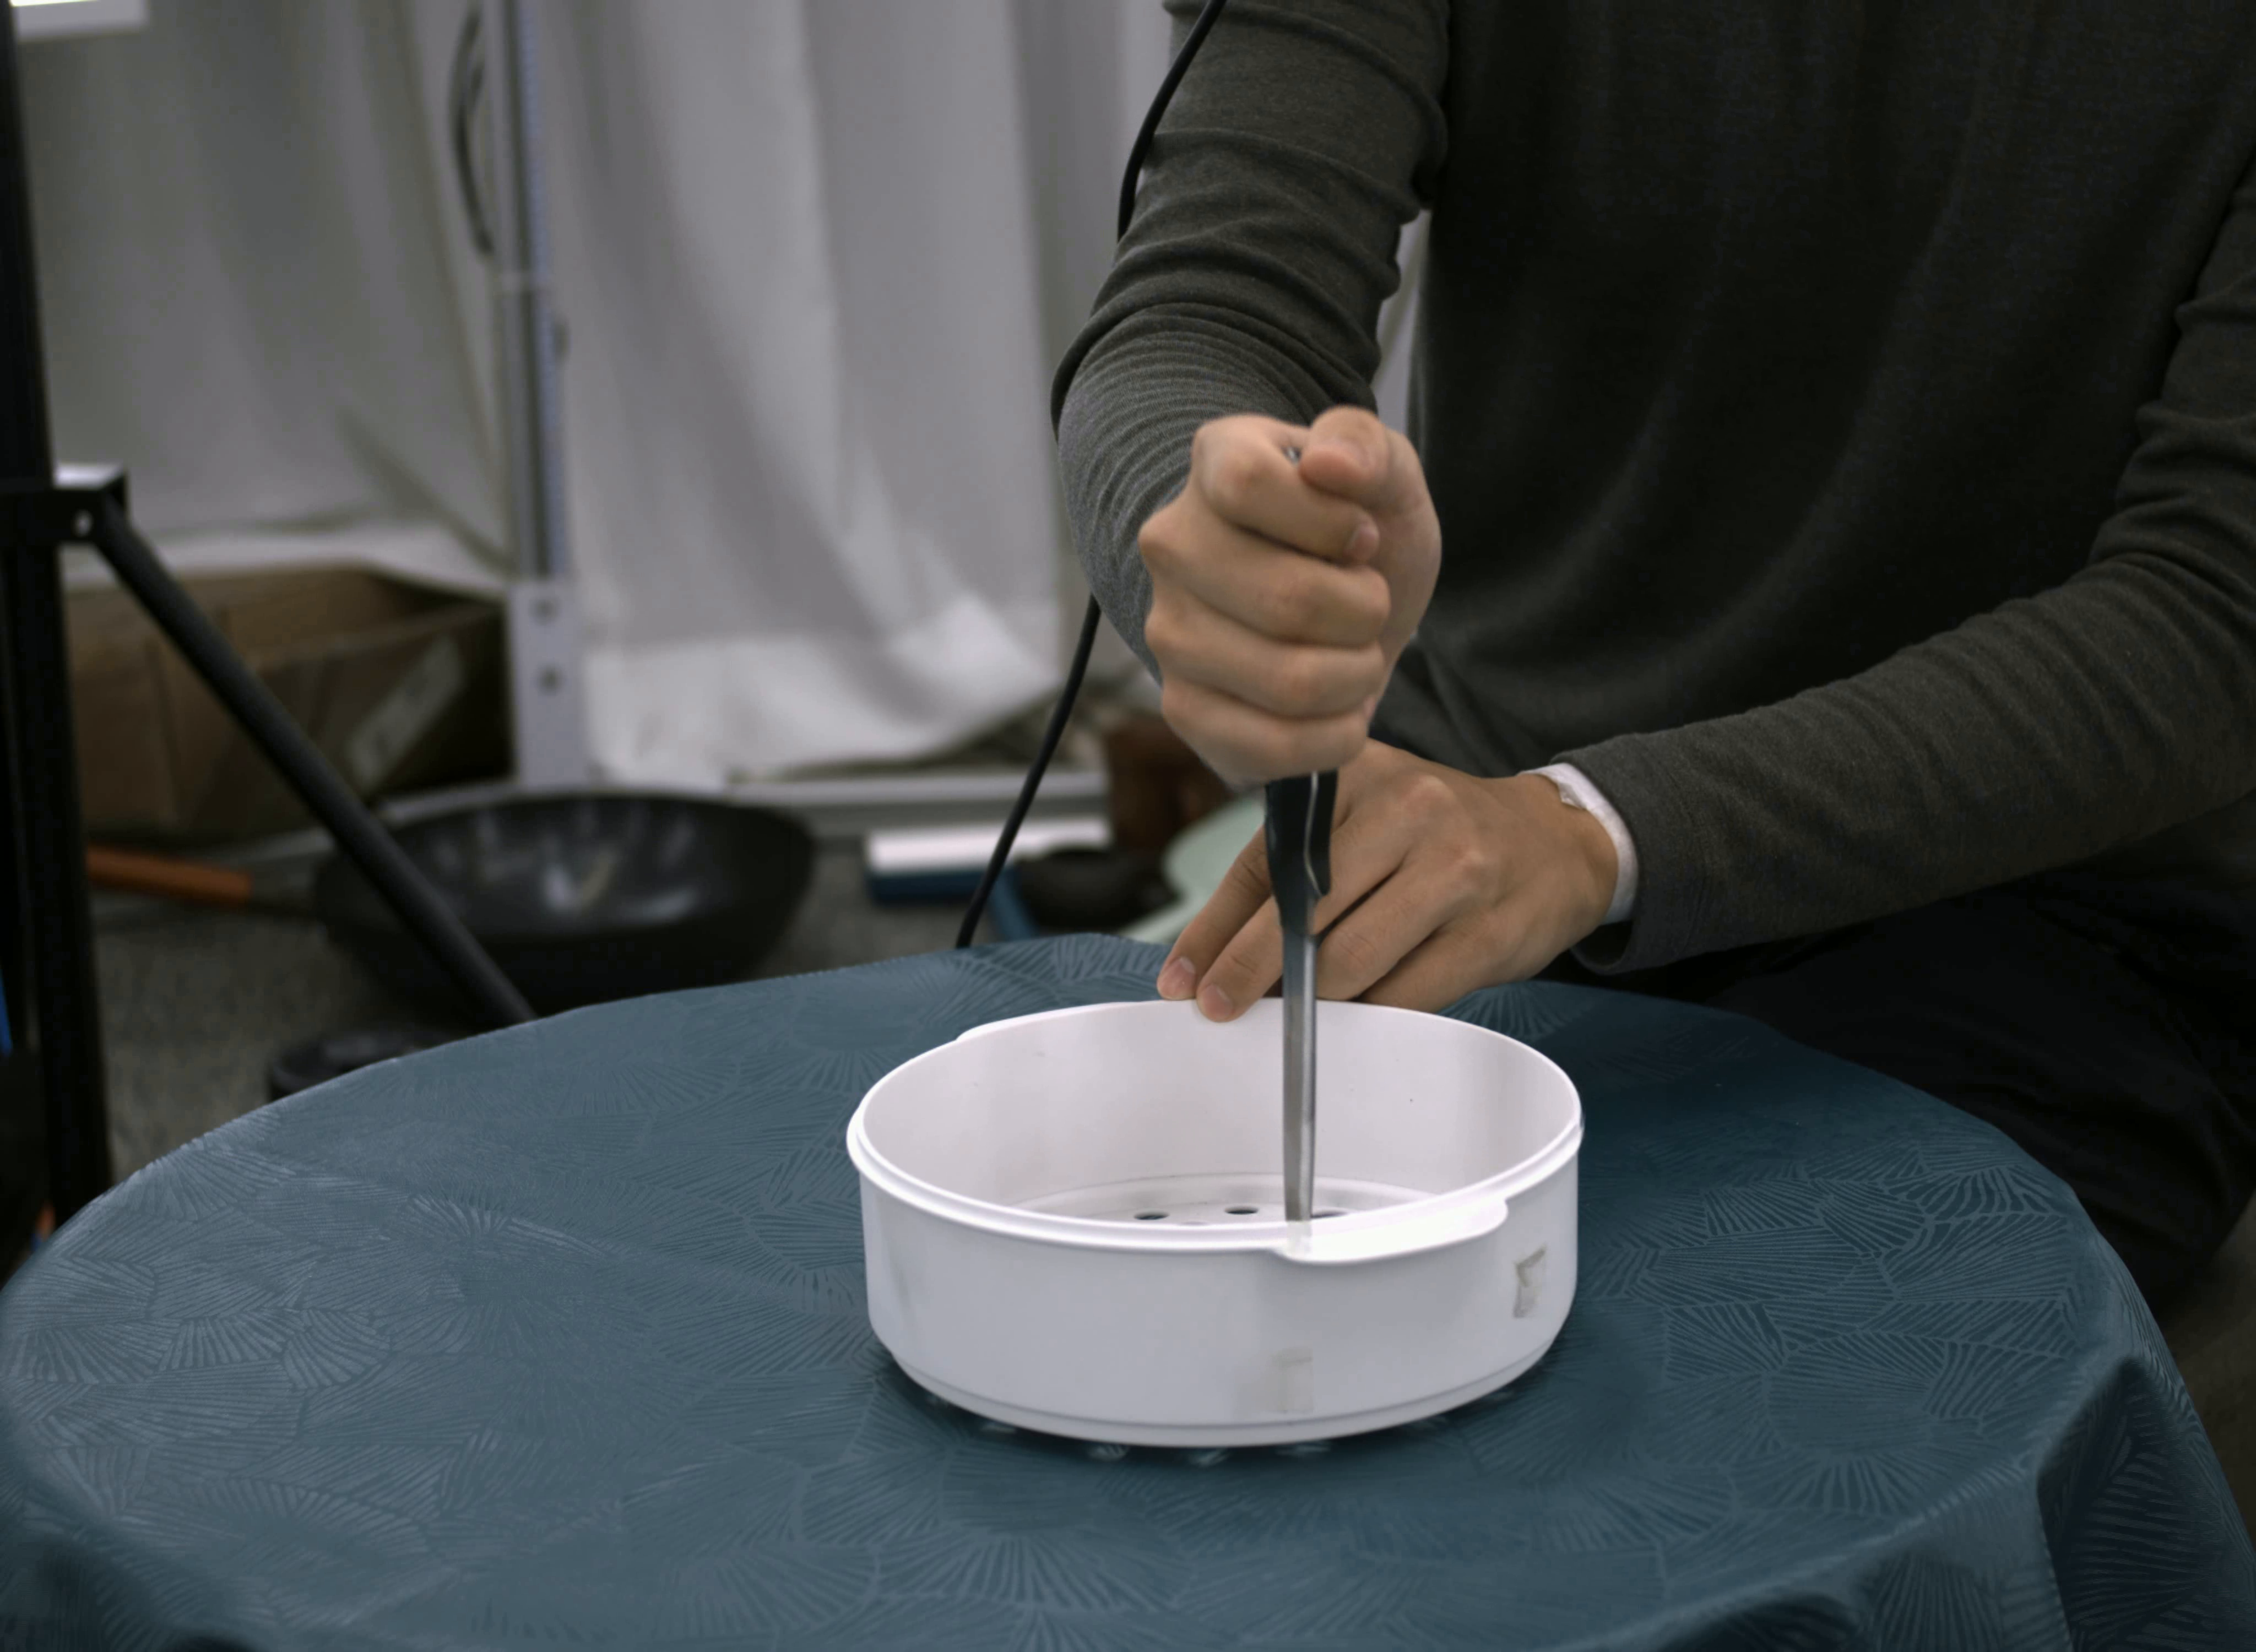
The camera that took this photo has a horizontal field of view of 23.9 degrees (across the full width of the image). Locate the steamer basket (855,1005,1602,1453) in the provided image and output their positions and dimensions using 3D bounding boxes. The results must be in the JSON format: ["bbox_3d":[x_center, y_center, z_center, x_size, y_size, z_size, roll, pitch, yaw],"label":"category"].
[{"bbox_3d":[0.028,0.108,1.433,0.198,0.069,0.235,-8,16,-22],"label":"steamer basket"}]

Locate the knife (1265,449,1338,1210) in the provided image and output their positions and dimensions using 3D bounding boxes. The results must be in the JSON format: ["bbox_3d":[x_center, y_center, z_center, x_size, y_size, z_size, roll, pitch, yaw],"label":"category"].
[{"bbox_3d":[0.044,0.020,1.344,0.016,0.238,0.025,-5,19,-13],"label":"knife"}]
